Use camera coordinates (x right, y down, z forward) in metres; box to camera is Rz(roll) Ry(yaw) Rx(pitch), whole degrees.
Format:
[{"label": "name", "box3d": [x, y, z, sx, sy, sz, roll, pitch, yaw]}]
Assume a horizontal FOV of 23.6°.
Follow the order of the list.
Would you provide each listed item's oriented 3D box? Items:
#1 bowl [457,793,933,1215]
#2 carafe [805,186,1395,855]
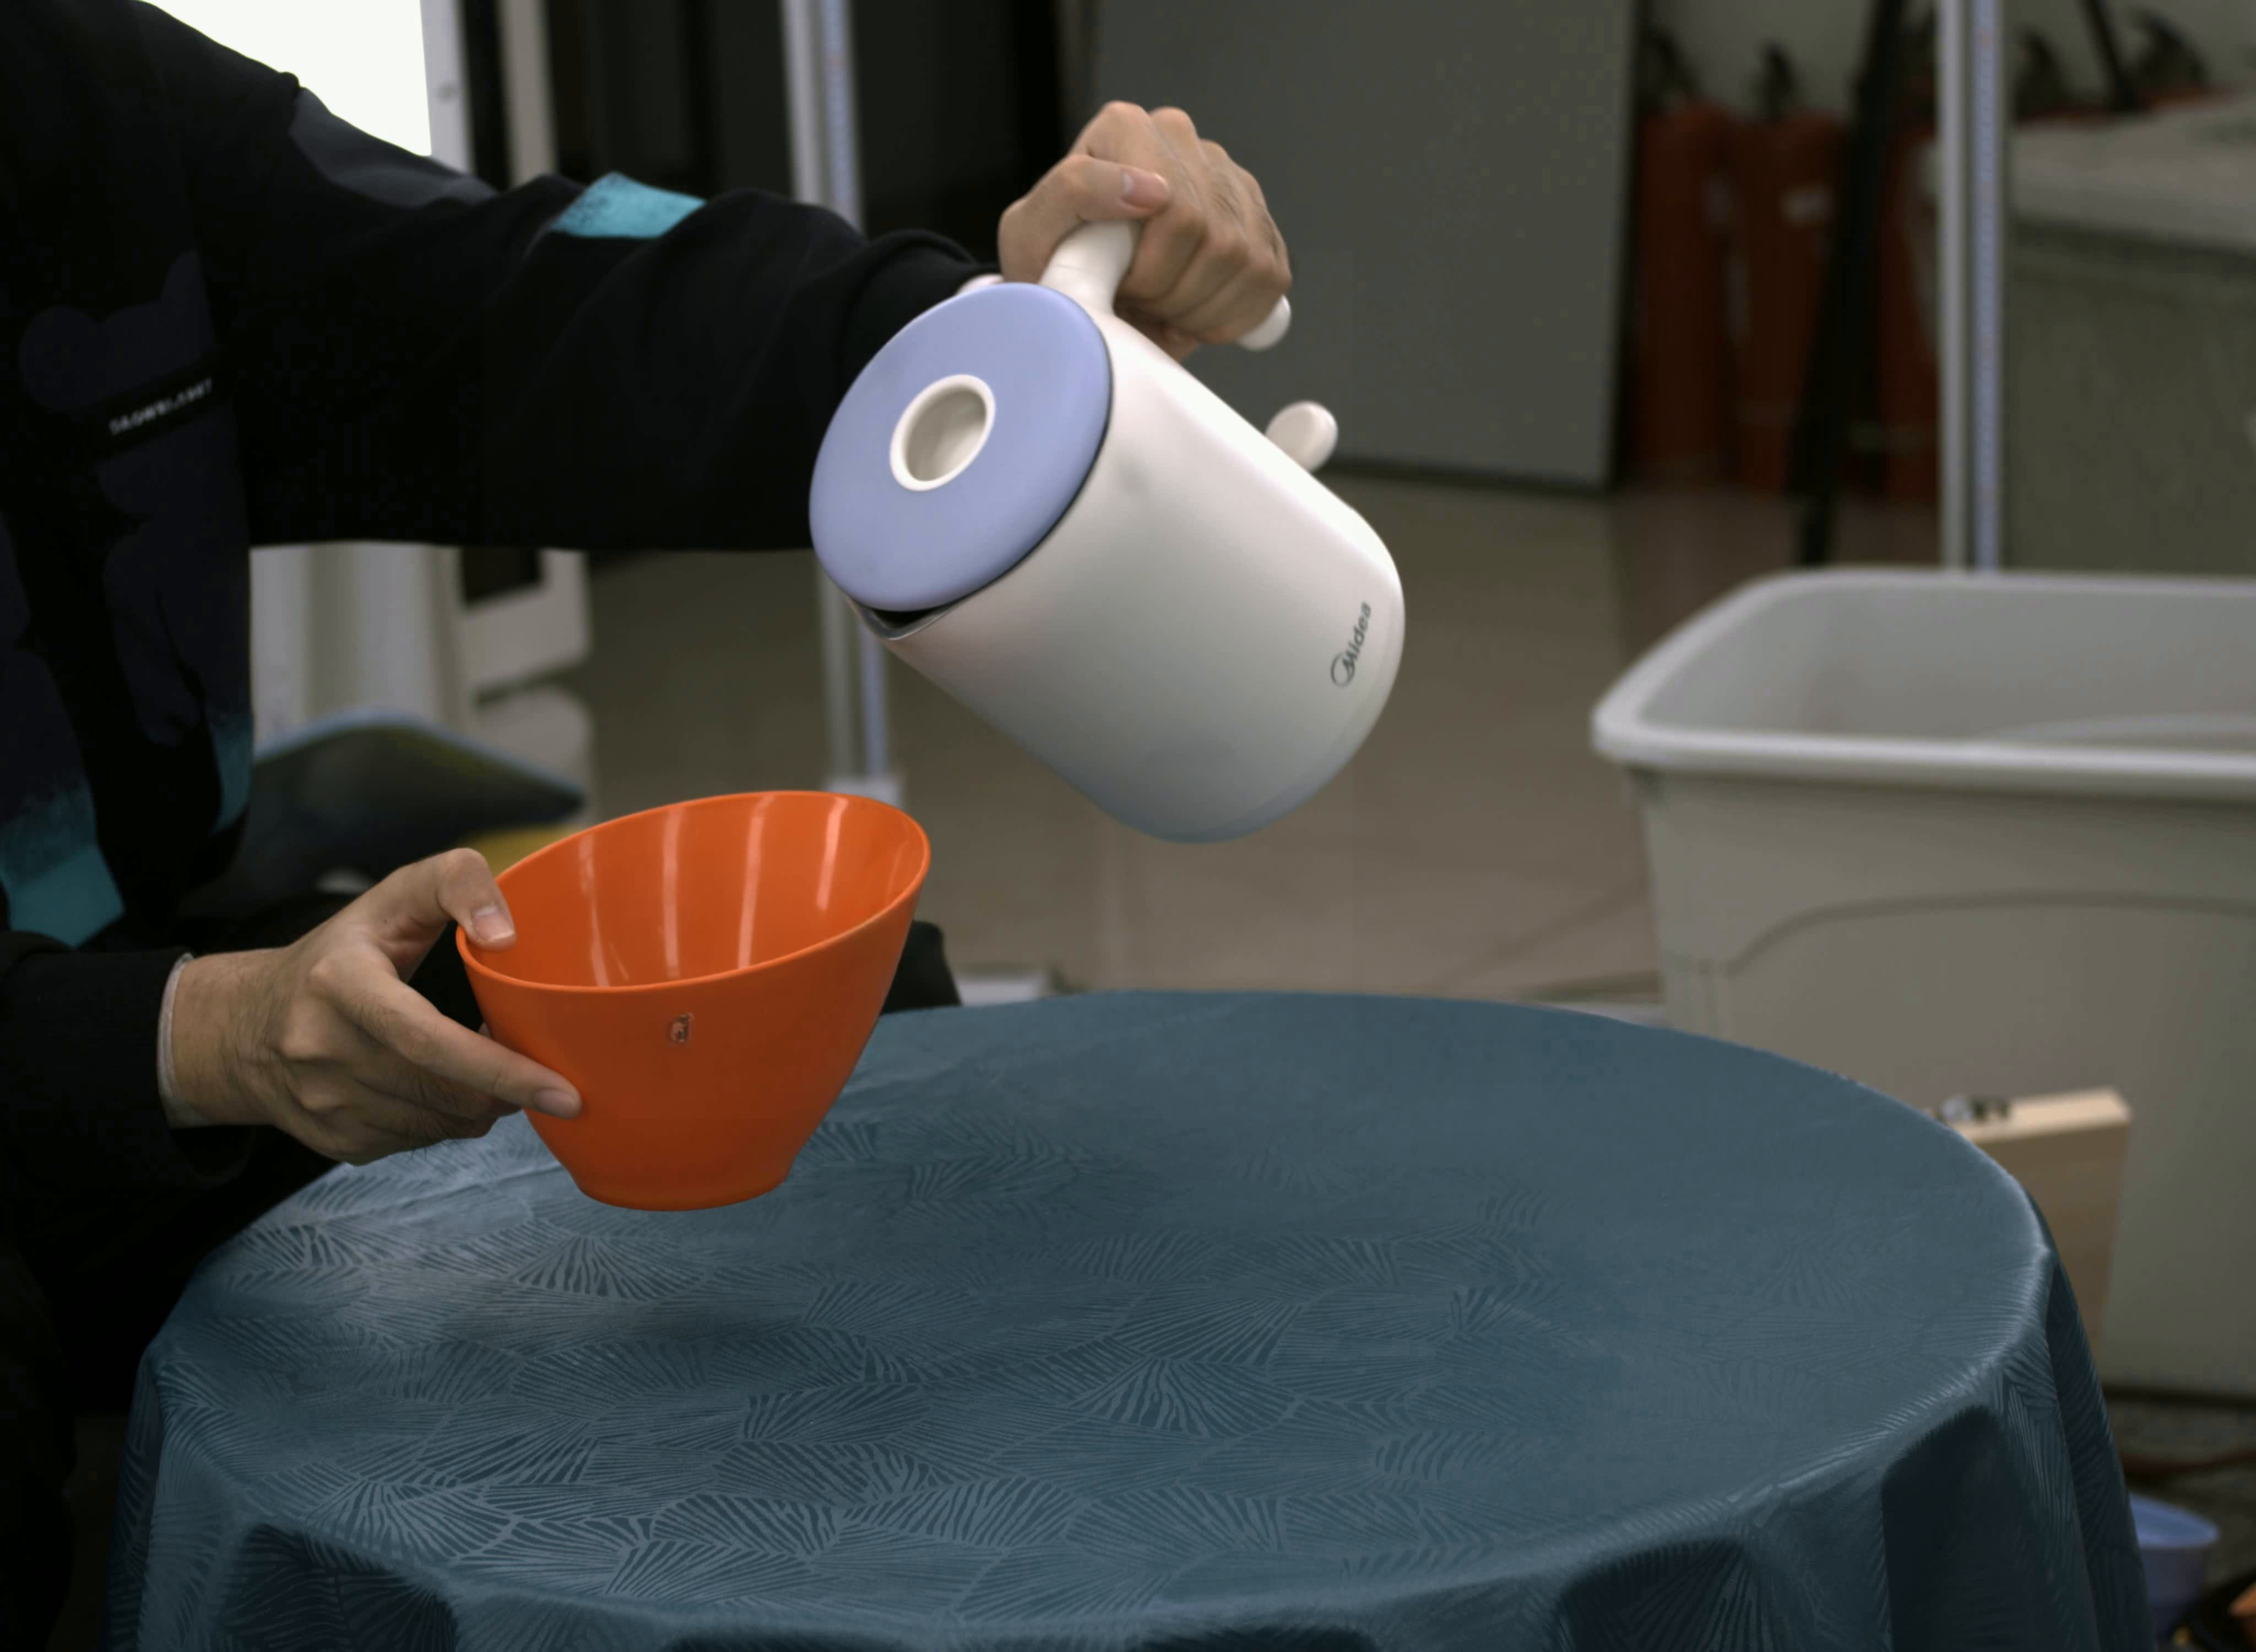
[{"label": "bowl", "box3d": [-0.131, 0.058, 1.665, 0.146, 0.106, 0.148, -1, 15, -1]}, {"label": "carafe", "box3d": [0.000, -0.107, 1.764, 0.133, 0.192, 0.180, 1, -29, 40]}]
